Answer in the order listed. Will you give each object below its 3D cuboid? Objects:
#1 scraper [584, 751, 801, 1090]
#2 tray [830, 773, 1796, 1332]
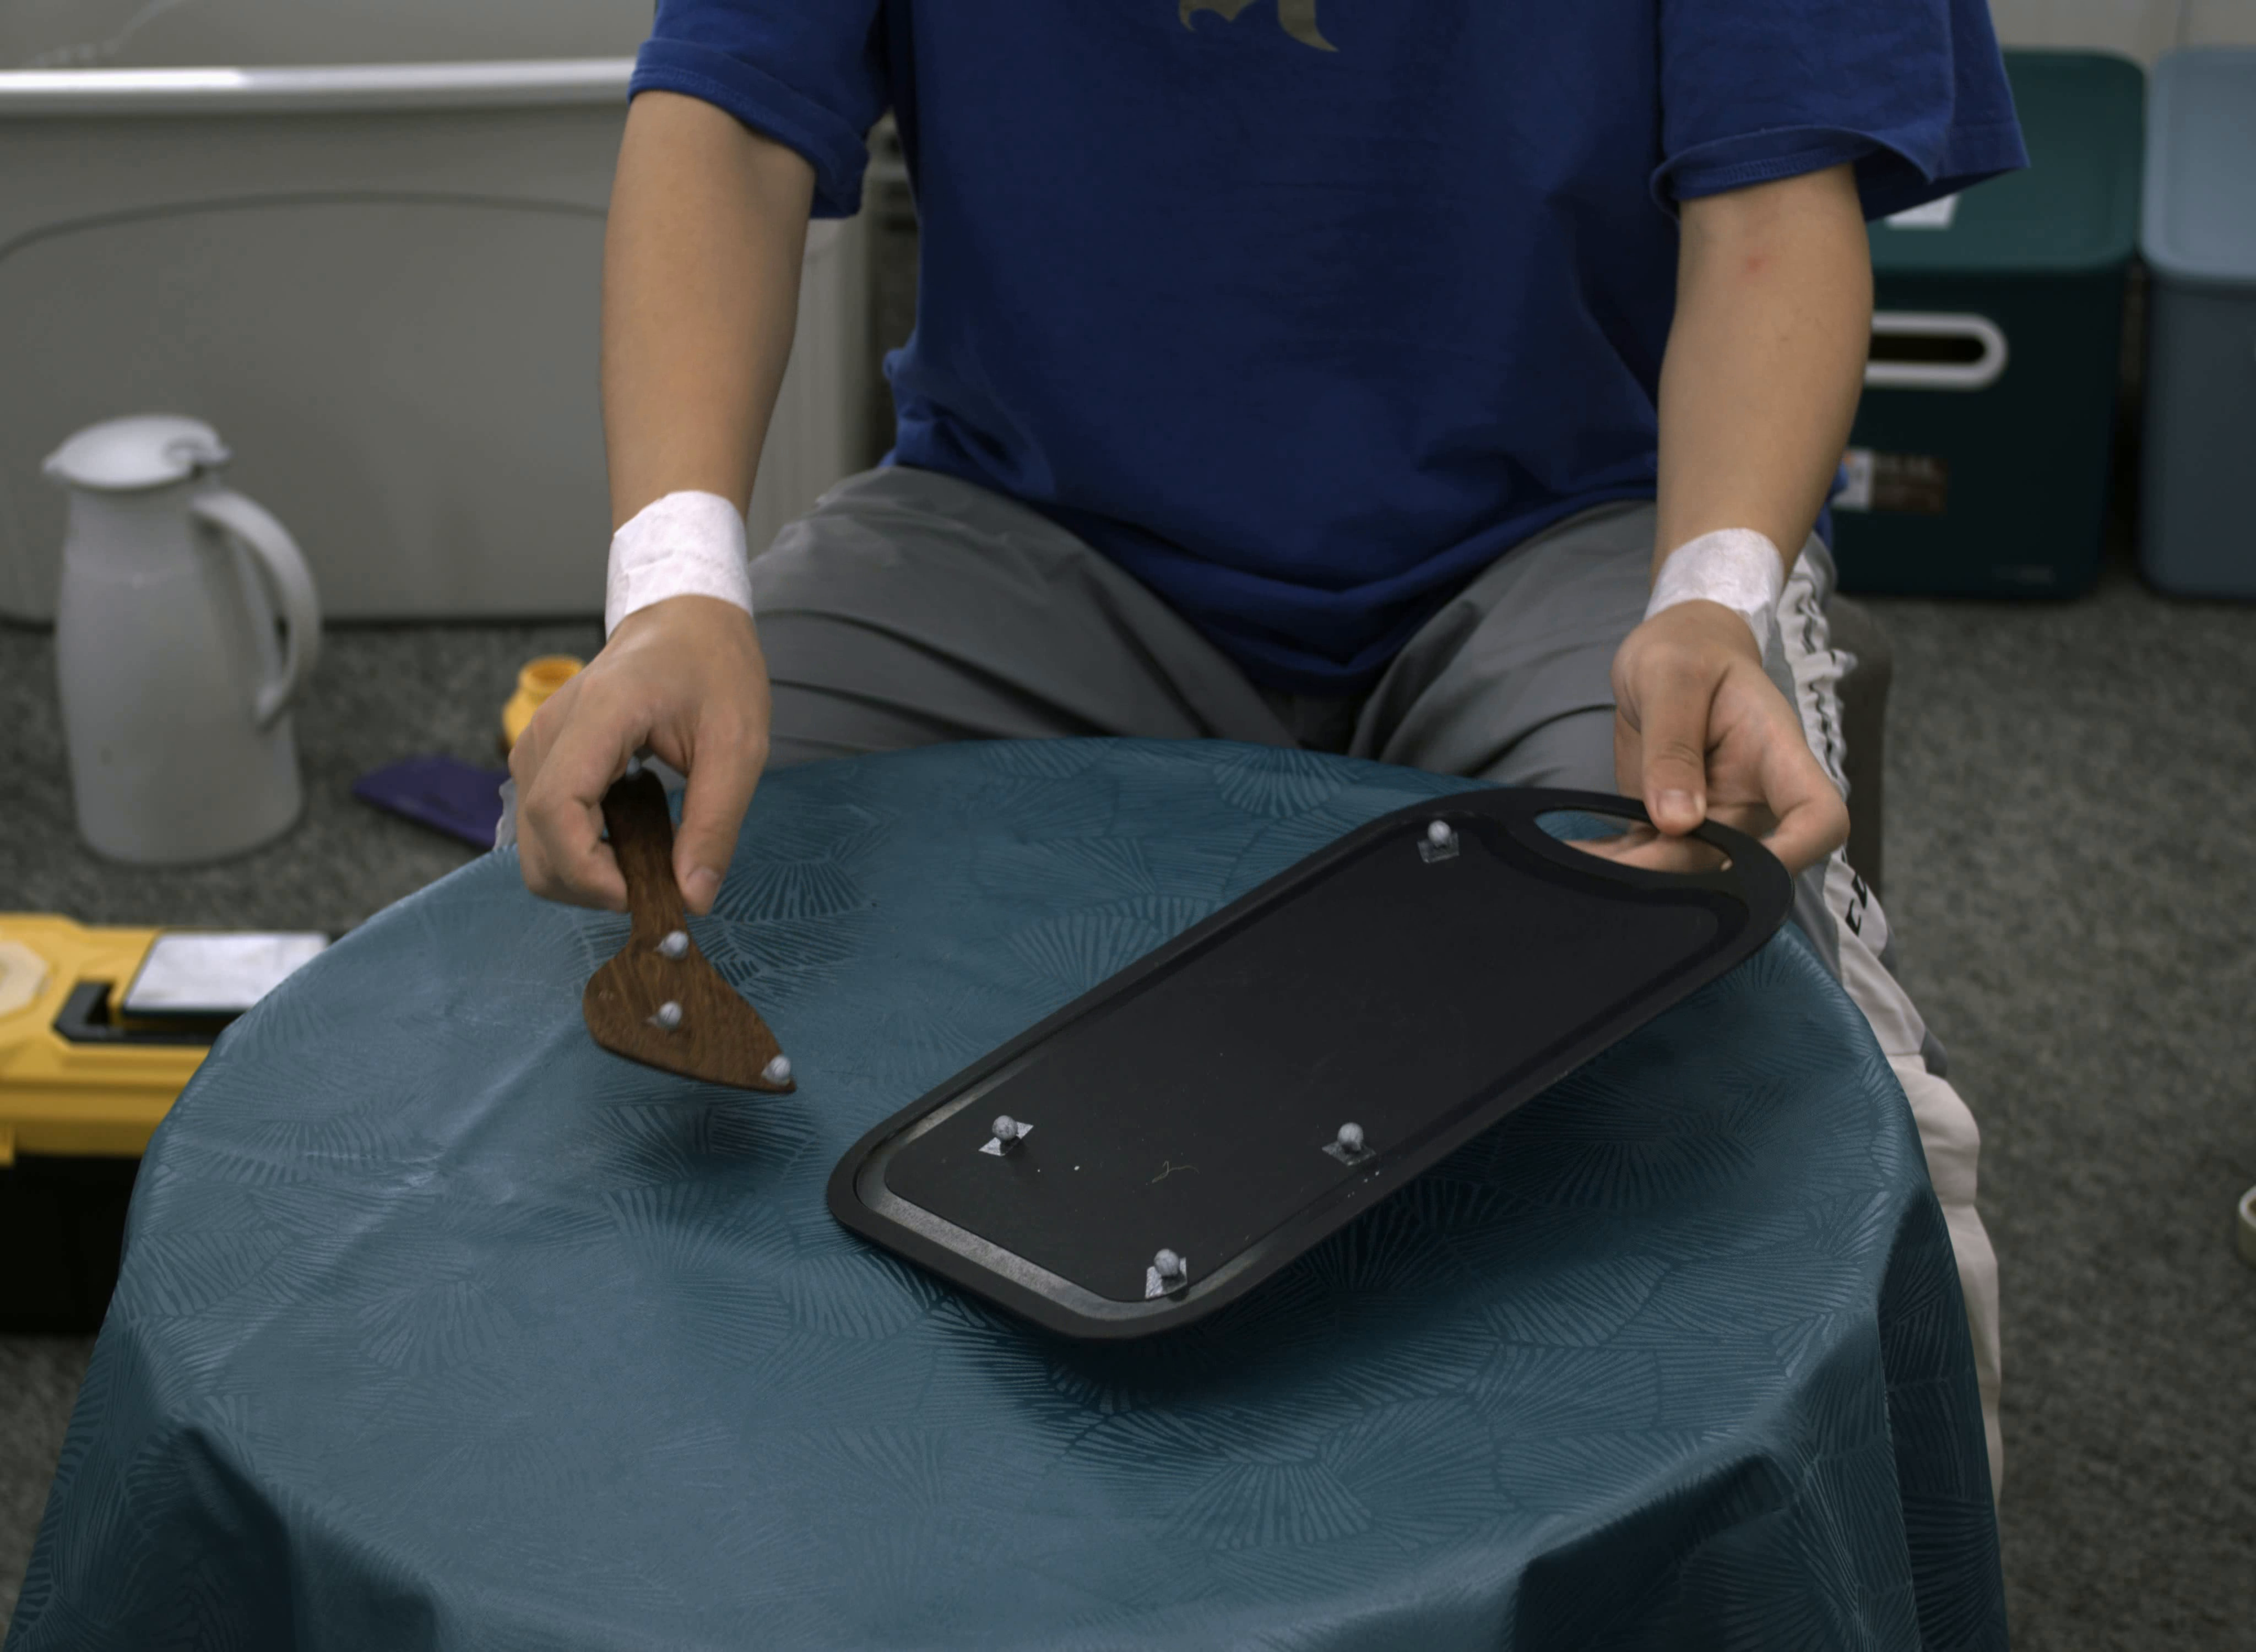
[{"bbox_3d":[-0.162,0.030,1.949,0.075,0.010,0.214,16,26,-21],"label":"scraper"},{"bbox_3d":[0.066,0.064,1.866,0.329,0.010,0.210,-31,27,-26],"label":"tray"}]
